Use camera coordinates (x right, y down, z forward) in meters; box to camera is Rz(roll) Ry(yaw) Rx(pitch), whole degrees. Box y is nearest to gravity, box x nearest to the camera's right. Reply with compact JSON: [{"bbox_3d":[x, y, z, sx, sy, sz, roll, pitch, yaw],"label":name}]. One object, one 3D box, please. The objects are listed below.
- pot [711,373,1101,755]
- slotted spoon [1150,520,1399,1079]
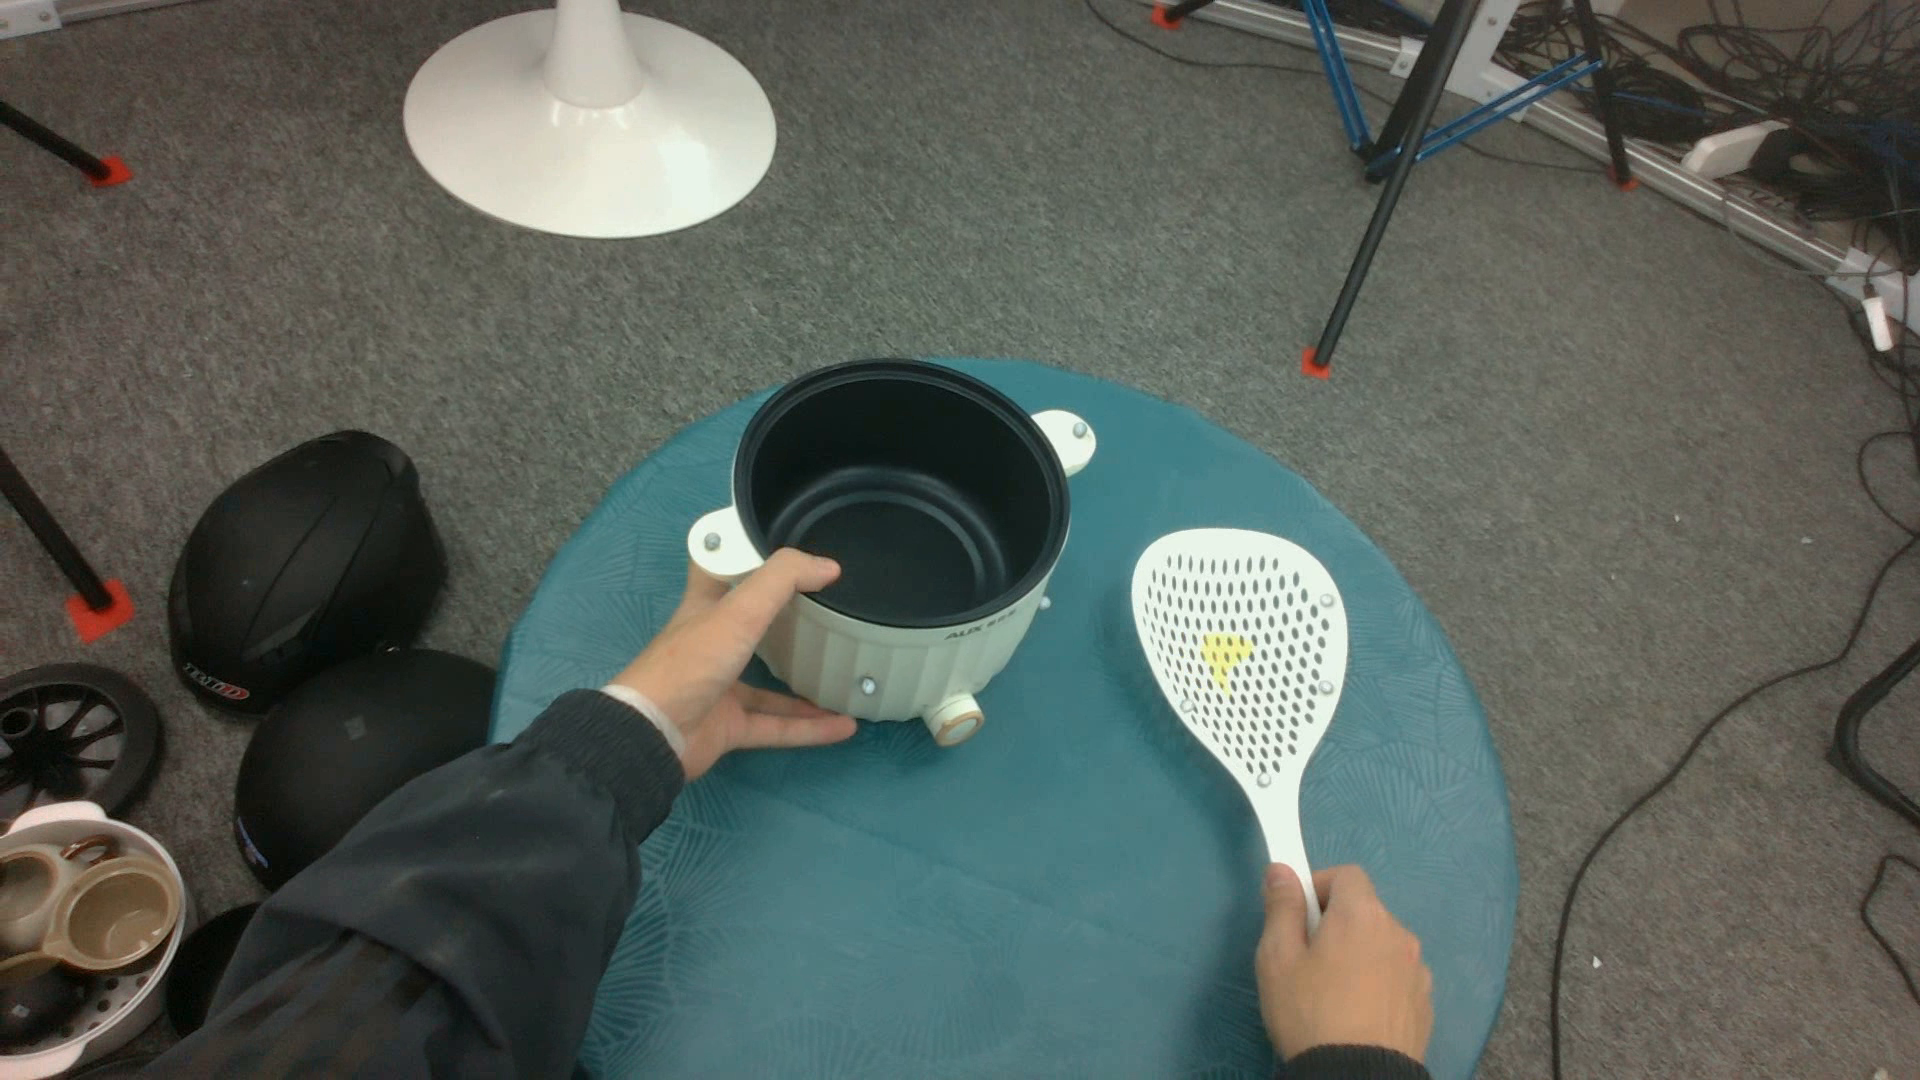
[{"bbox_3d":[-0.026,0.020,0.794,0.241,0.142,0.191,-23,57,-22],"label":"pot"},{"bbox_3d":[0.195,0.138,0.798,0.137,0.050,0.349,-1,52,-10],"label":"slotted spoon"}]
